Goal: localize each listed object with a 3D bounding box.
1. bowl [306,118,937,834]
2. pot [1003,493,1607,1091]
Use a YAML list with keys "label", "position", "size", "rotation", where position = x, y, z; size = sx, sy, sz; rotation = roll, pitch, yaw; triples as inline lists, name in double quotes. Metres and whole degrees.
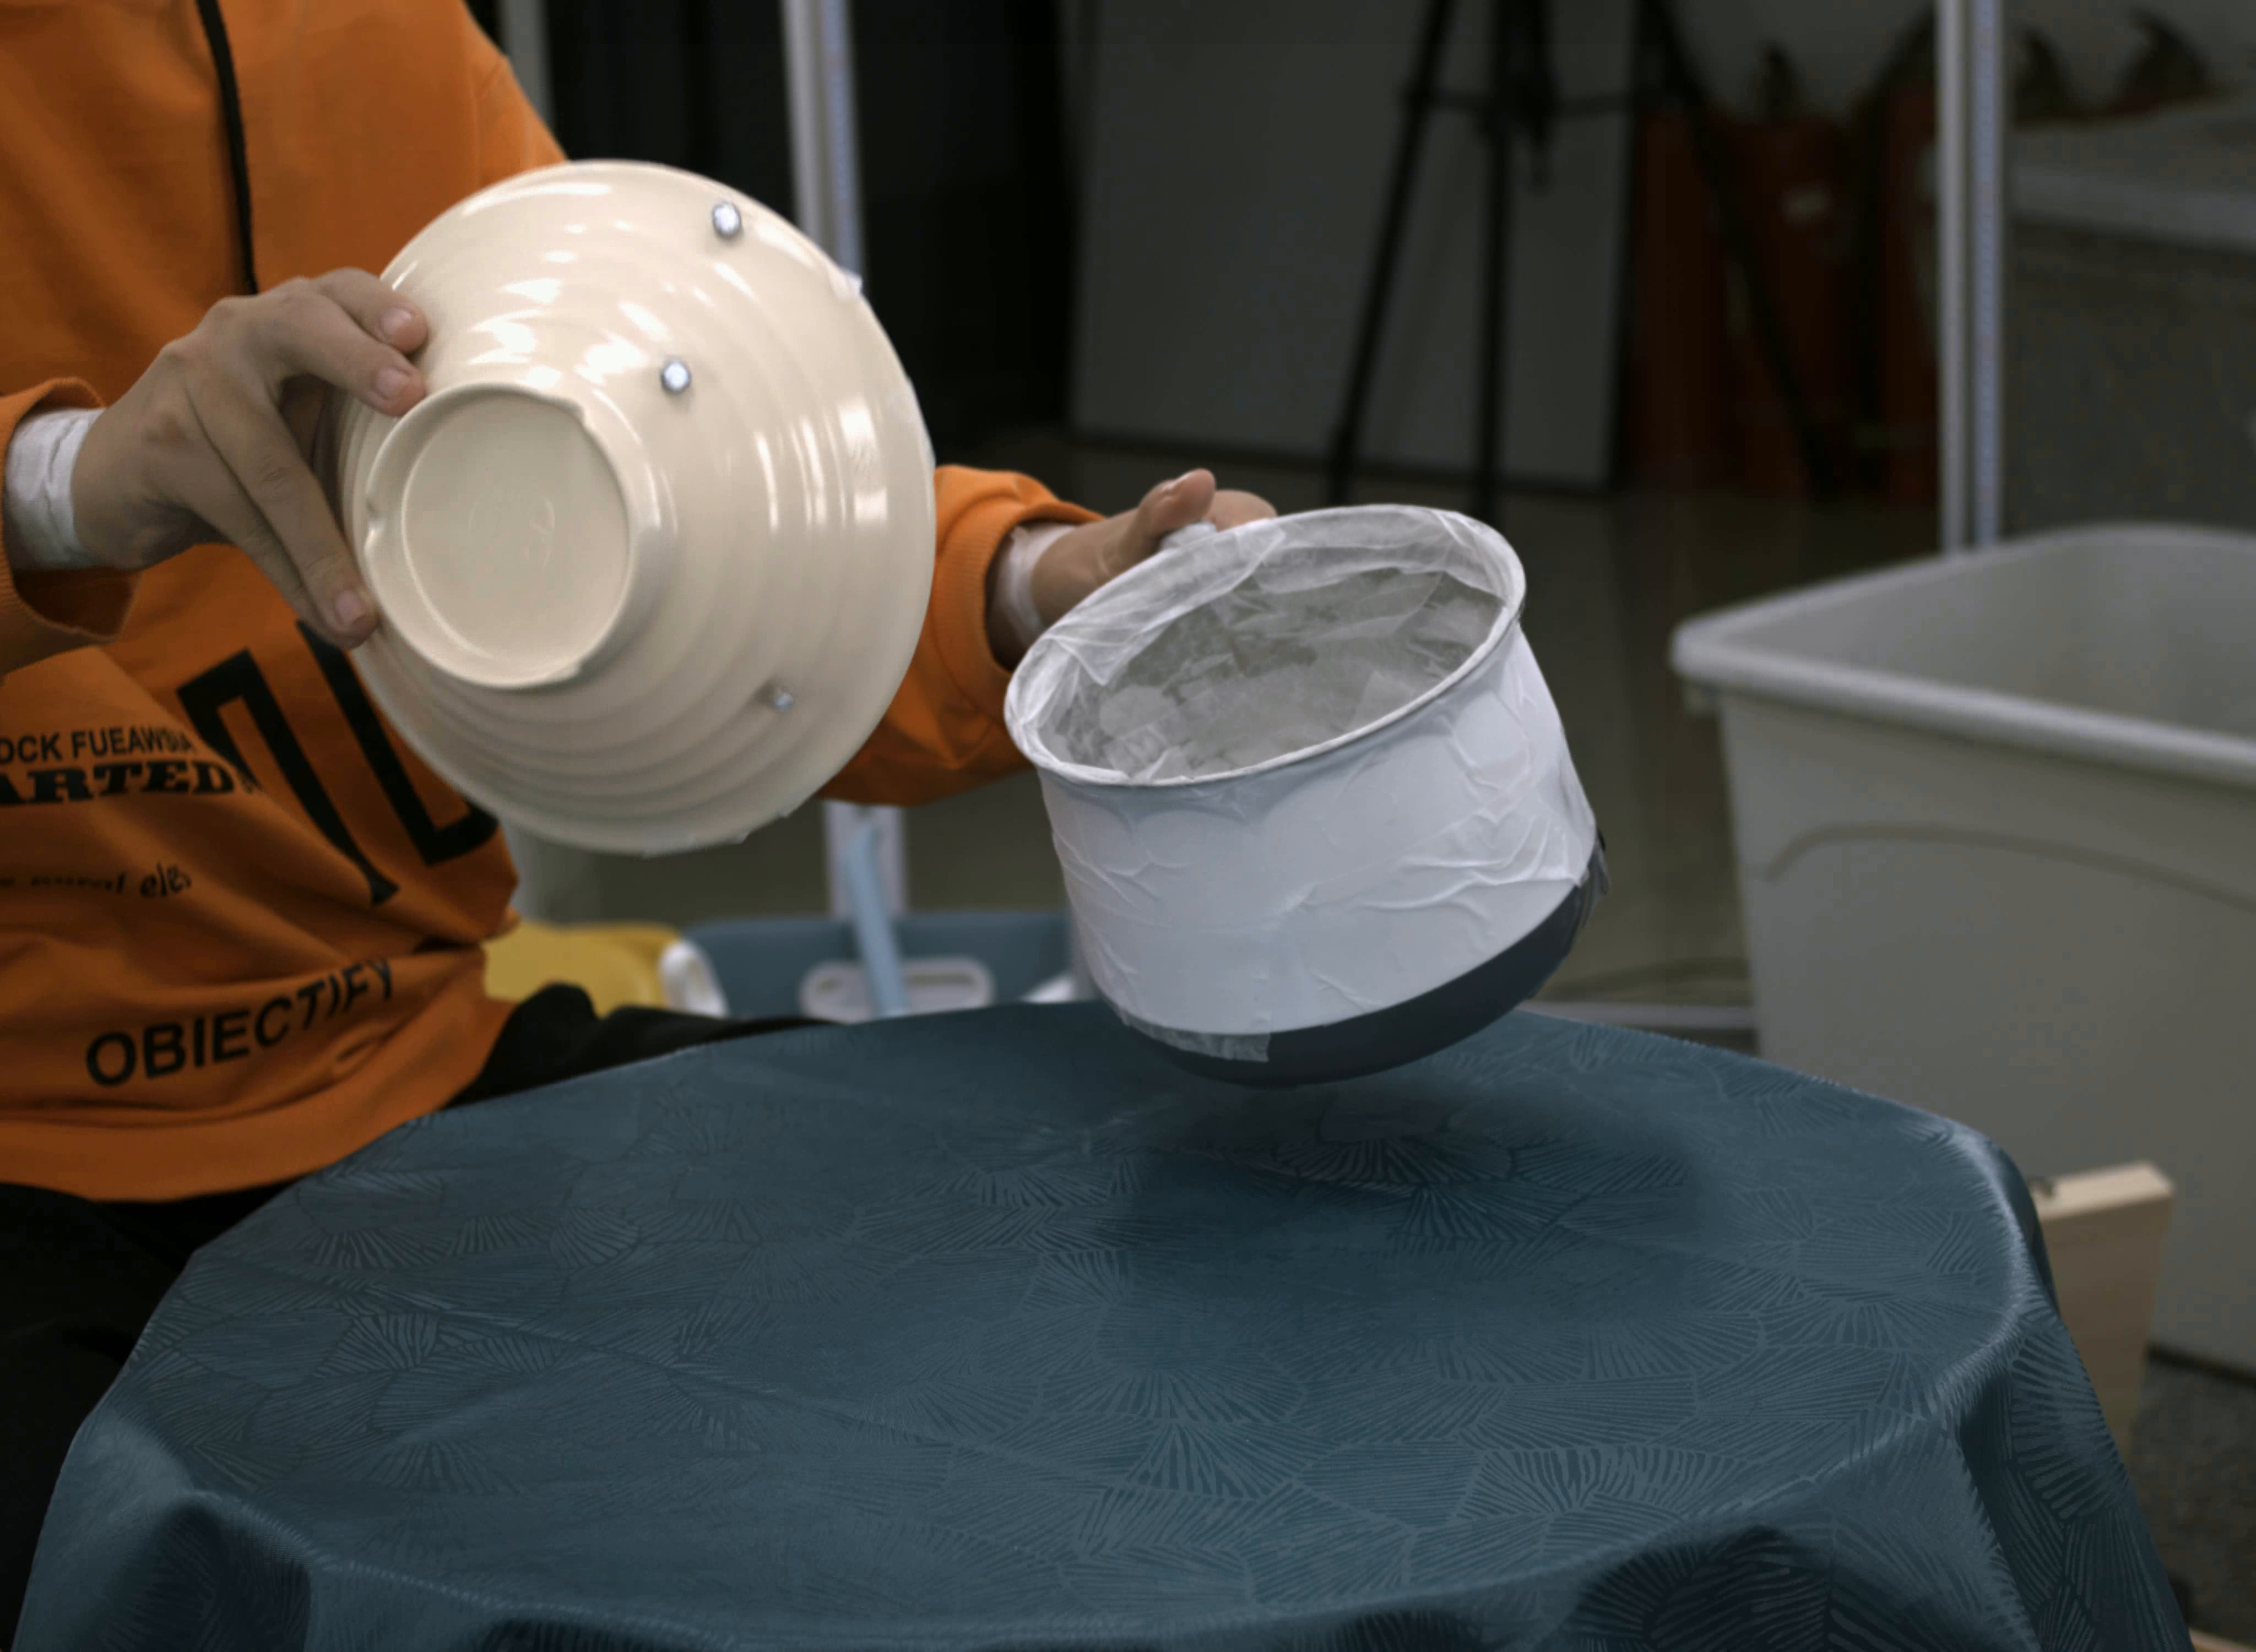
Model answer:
- label: "bowl"
  position: [-0.160, -0.095, 1.530]
  size: [0.204, 0.206, 0.077]
  rotation: [2, 8, 22]
- label: "pot"
  position: [0.053, -0.020, 1.799]
  size: [0.176, 0.137, 0.236]
  rotation: [-22, 27, -6]
